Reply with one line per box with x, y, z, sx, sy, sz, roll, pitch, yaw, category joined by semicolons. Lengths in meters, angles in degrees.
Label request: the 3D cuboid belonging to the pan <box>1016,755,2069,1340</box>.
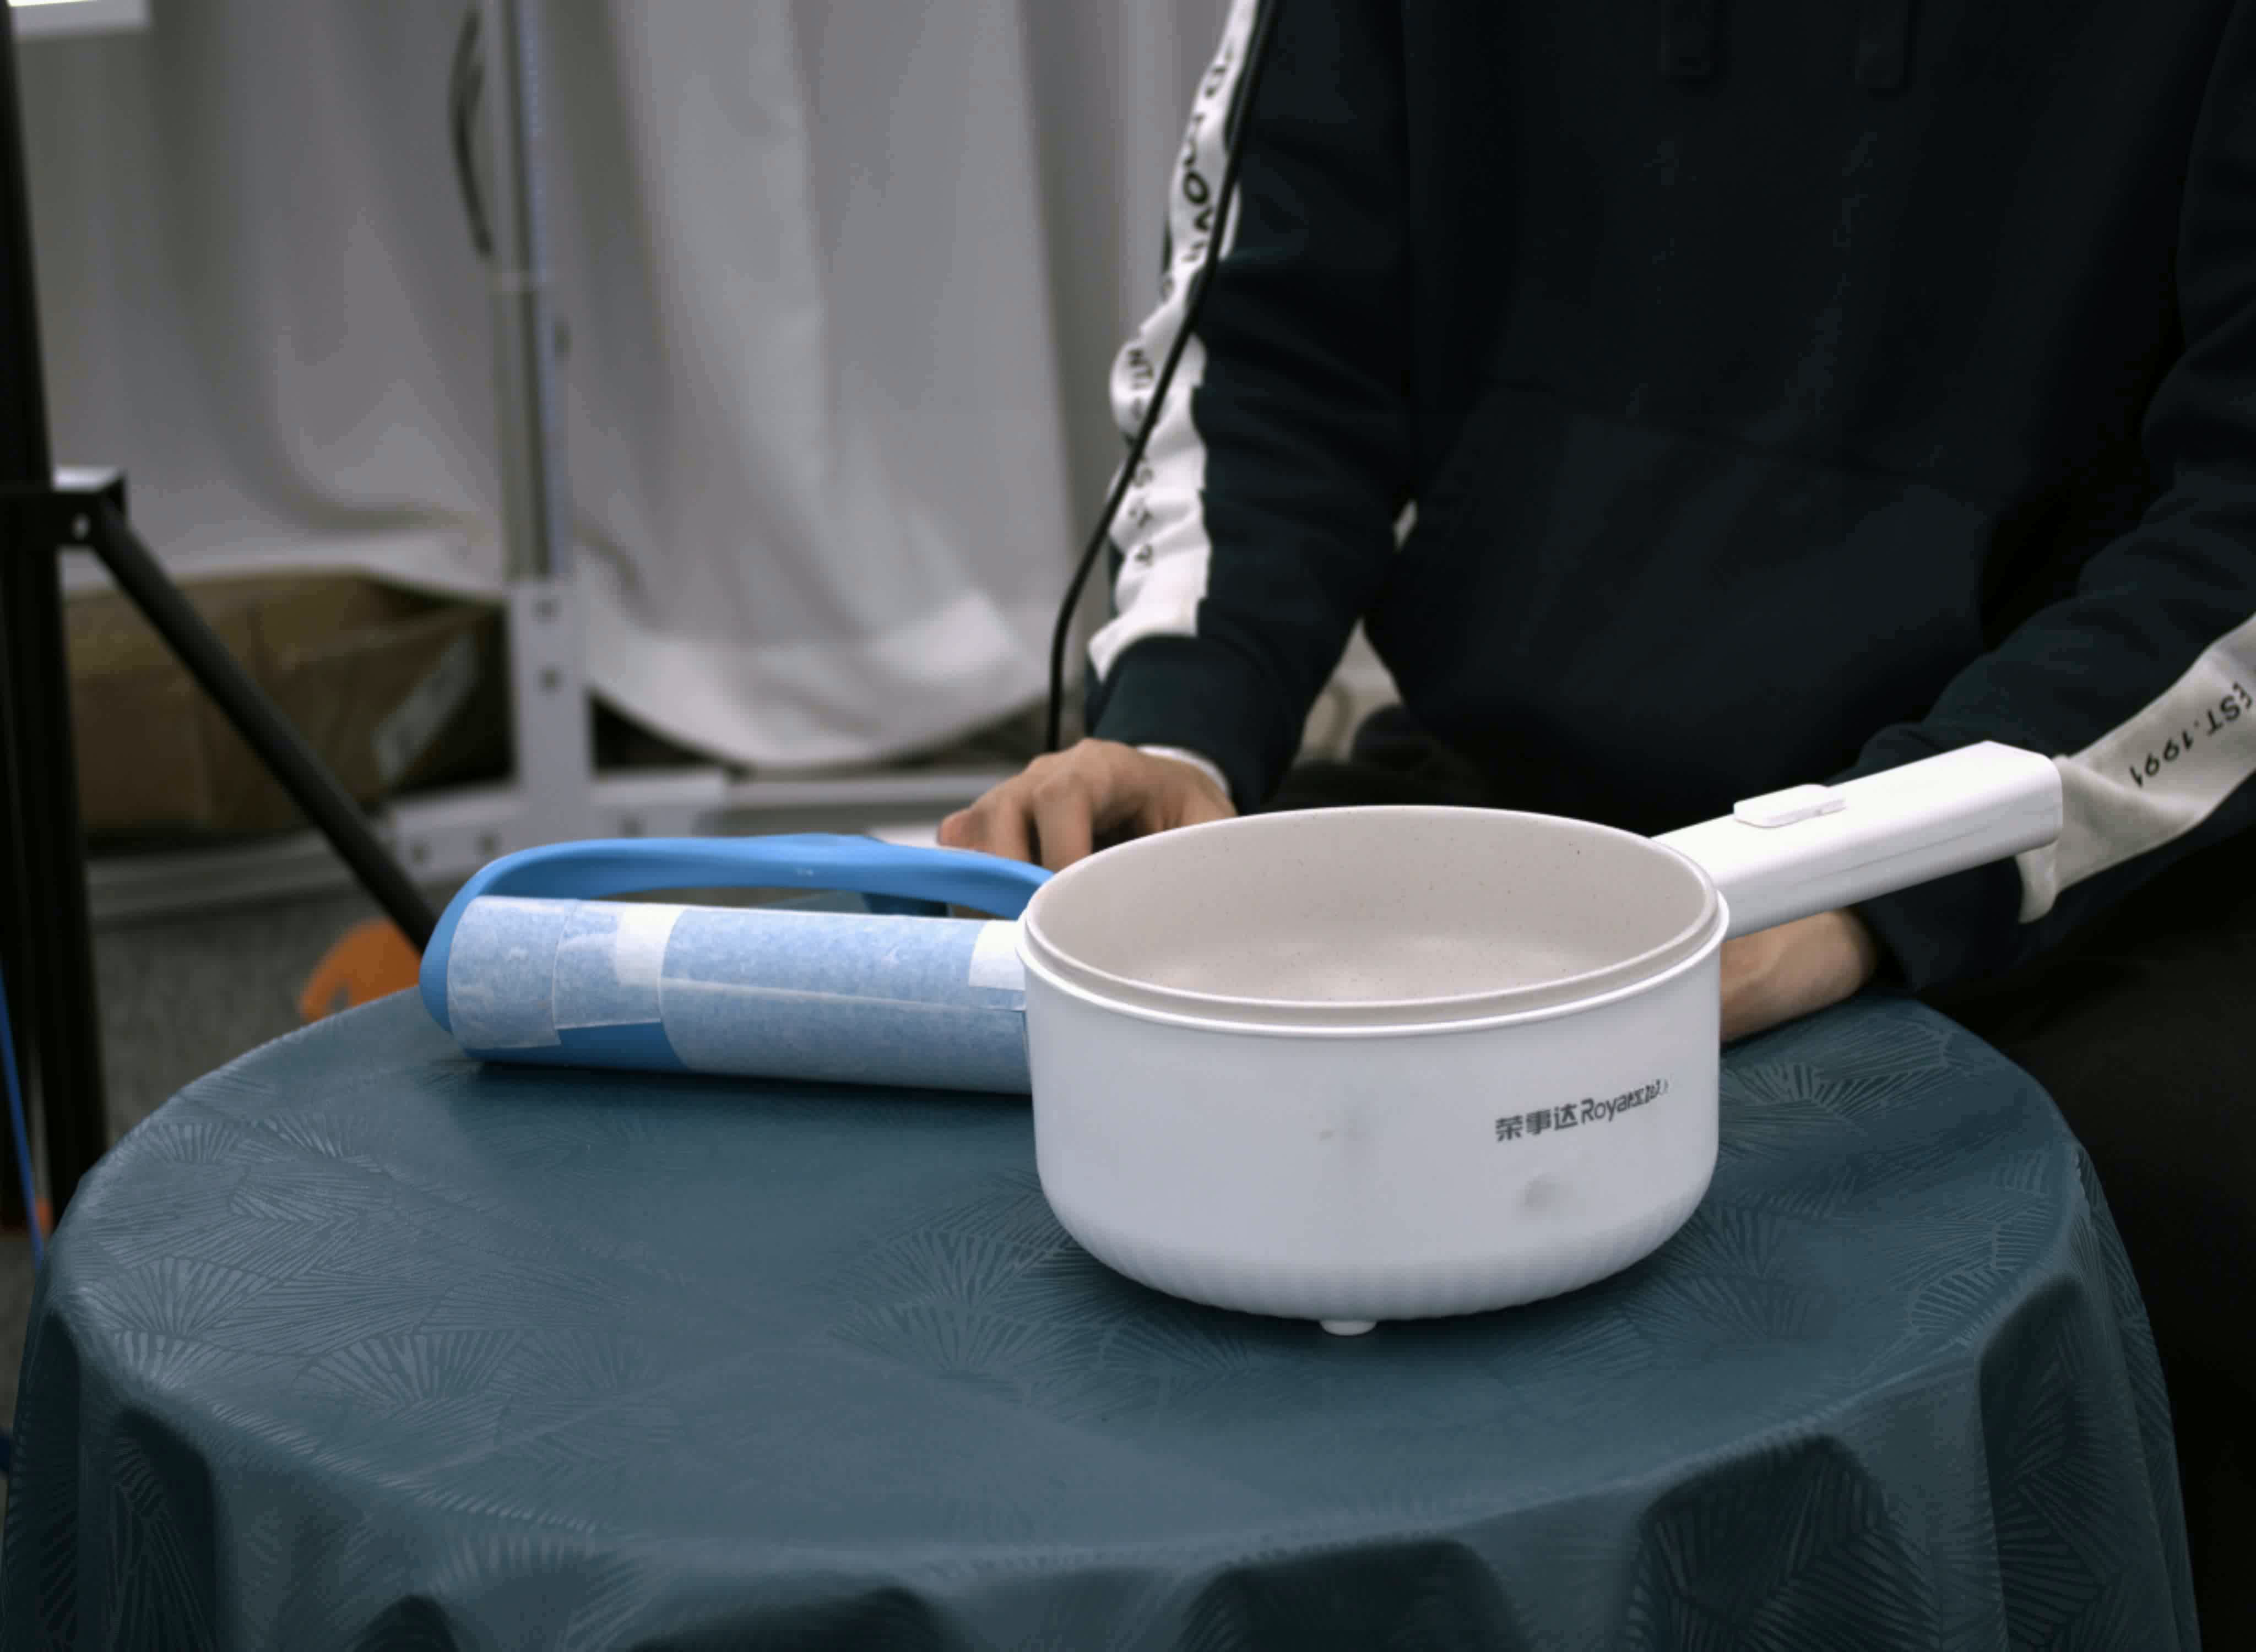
0.132;0.057;1.537;0.347;0.102;0.206;-12;17;-32;pan

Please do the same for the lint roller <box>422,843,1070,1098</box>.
-0.100;0.036;1.726;0.231;0.068;0.179;0;17;16;lint roller
